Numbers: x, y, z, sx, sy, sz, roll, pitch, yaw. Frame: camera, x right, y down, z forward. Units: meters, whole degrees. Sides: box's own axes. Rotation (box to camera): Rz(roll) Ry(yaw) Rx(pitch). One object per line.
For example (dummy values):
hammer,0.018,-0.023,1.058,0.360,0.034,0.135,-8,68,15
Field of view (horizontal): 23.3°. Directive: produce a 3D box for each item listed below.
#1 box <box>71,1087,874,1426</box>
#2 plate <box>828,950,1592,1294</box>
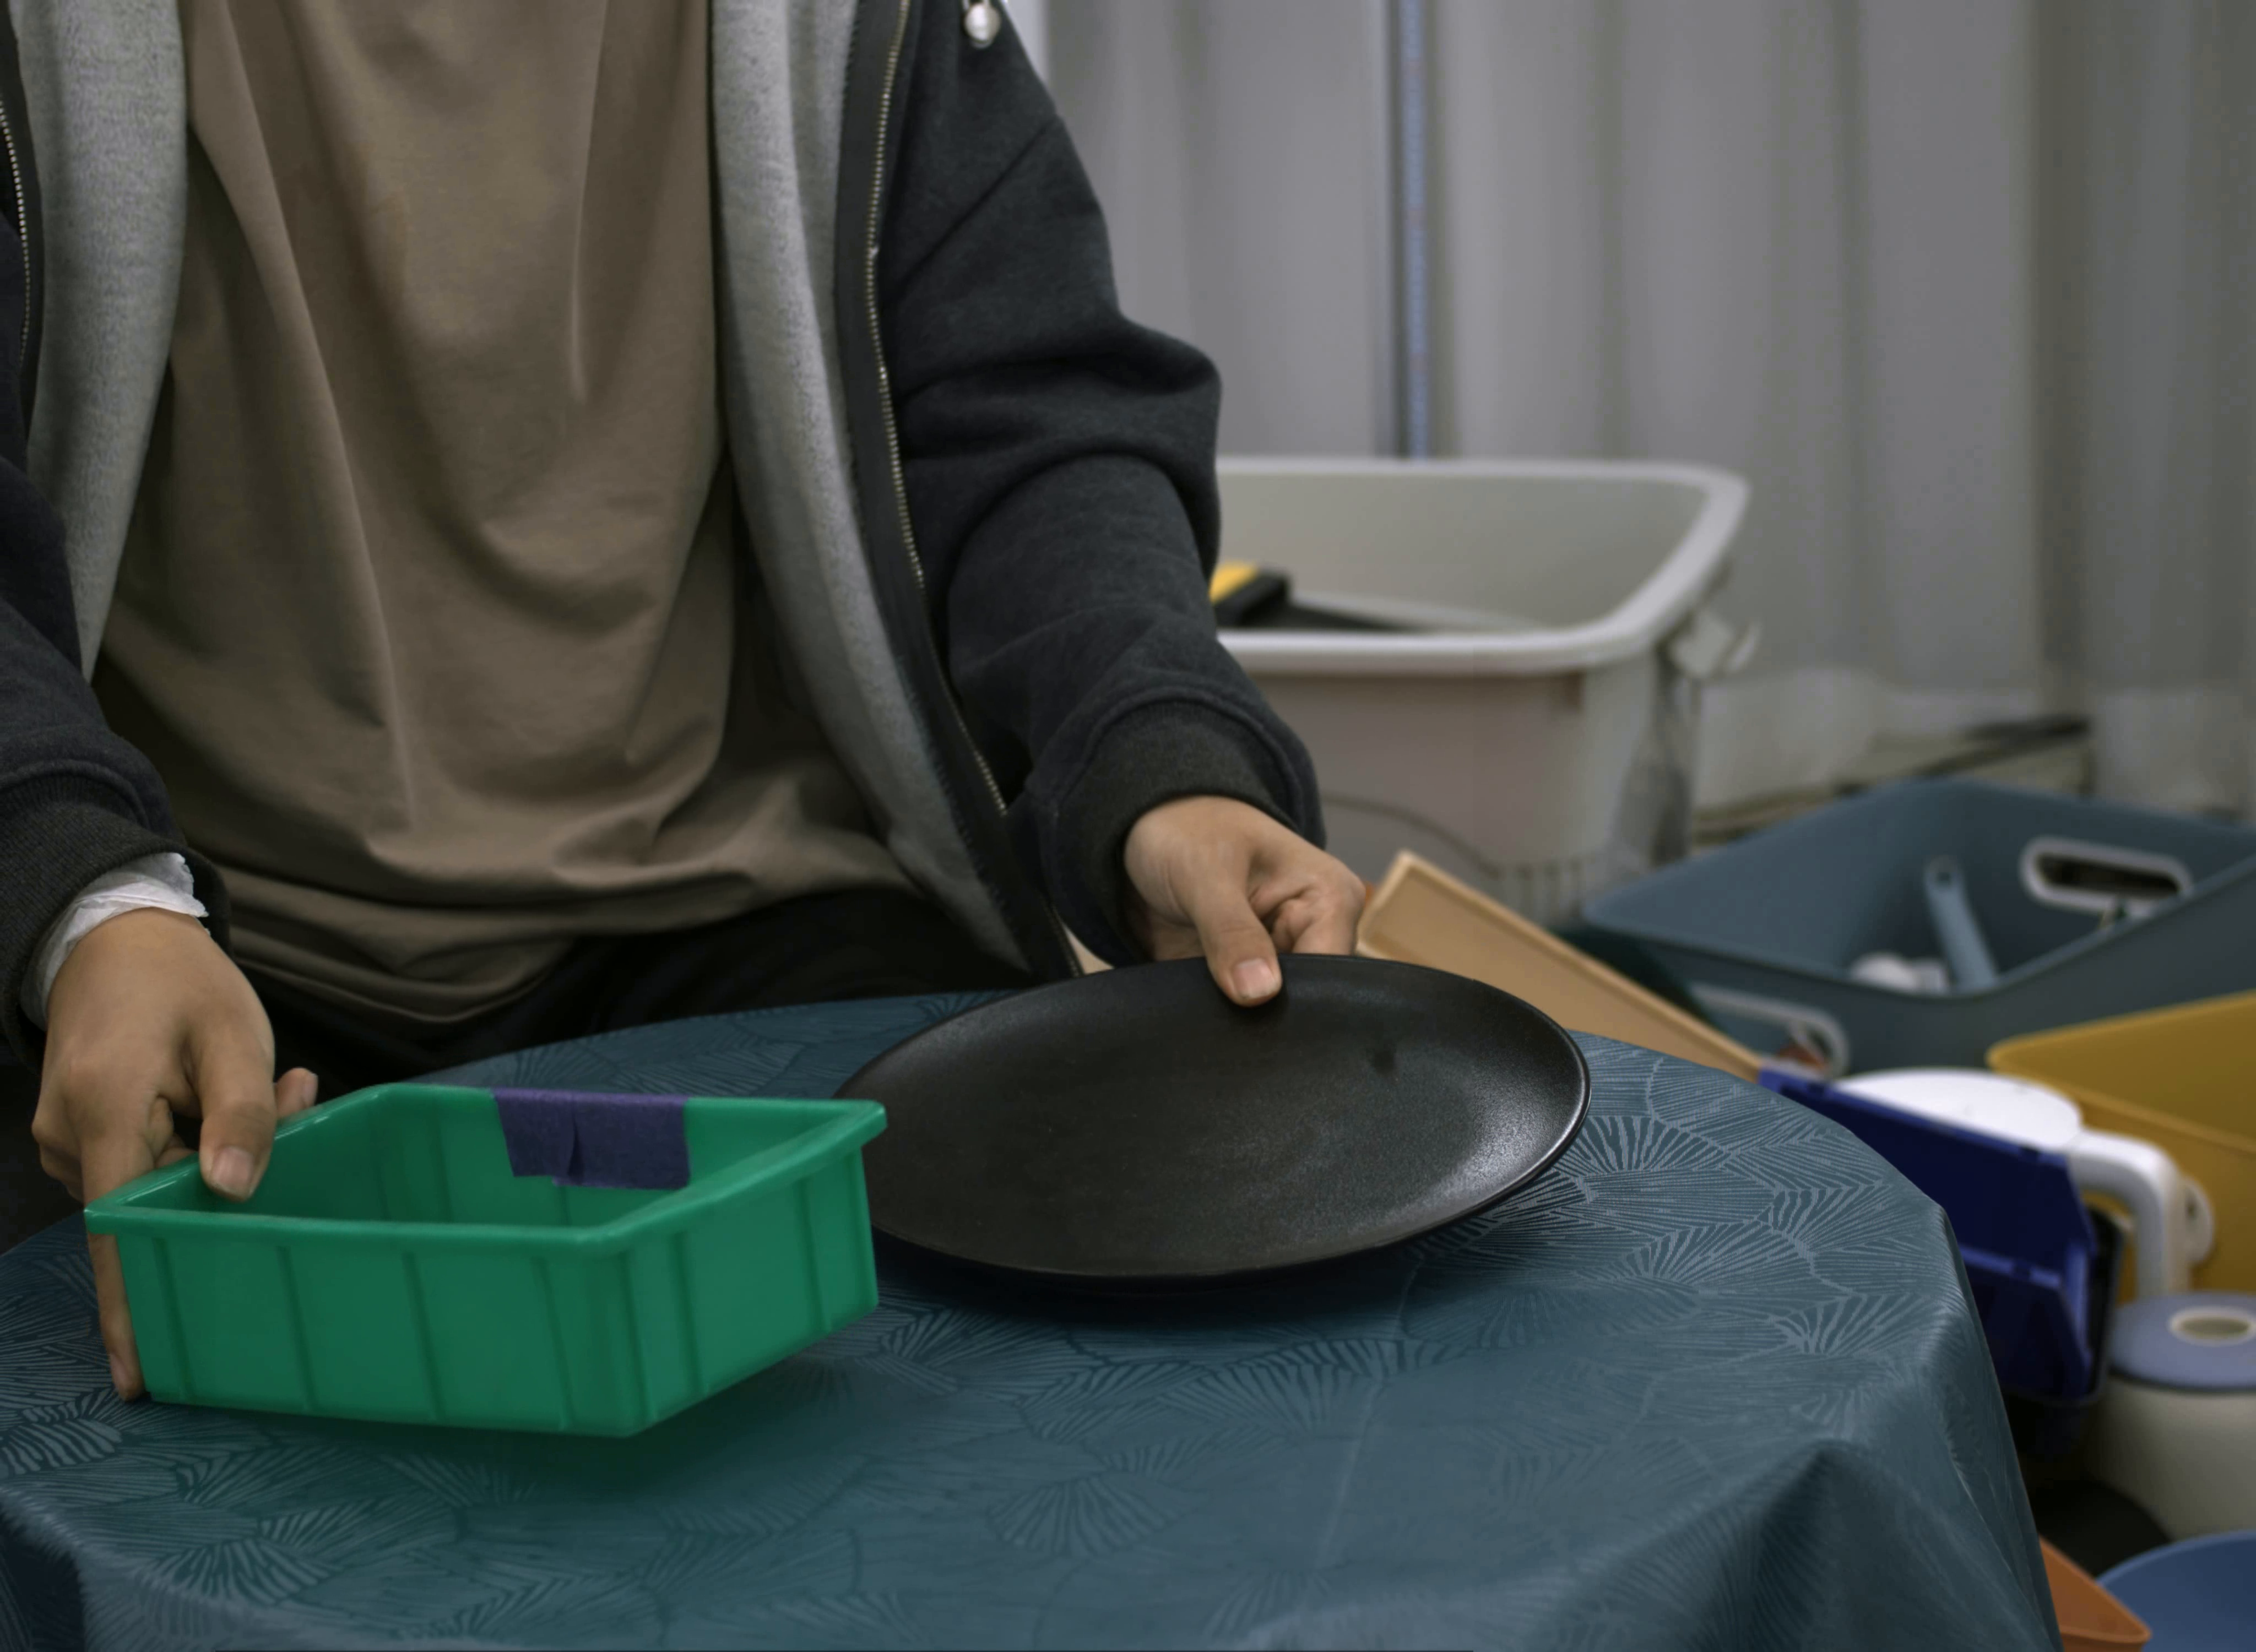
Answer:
box,-0.184,0.122,1.568,0.211,0.065,0.138,-2,10,34
plate,0.023,0.096,1.700,0.243,0.023,0.246,-6,21,2
